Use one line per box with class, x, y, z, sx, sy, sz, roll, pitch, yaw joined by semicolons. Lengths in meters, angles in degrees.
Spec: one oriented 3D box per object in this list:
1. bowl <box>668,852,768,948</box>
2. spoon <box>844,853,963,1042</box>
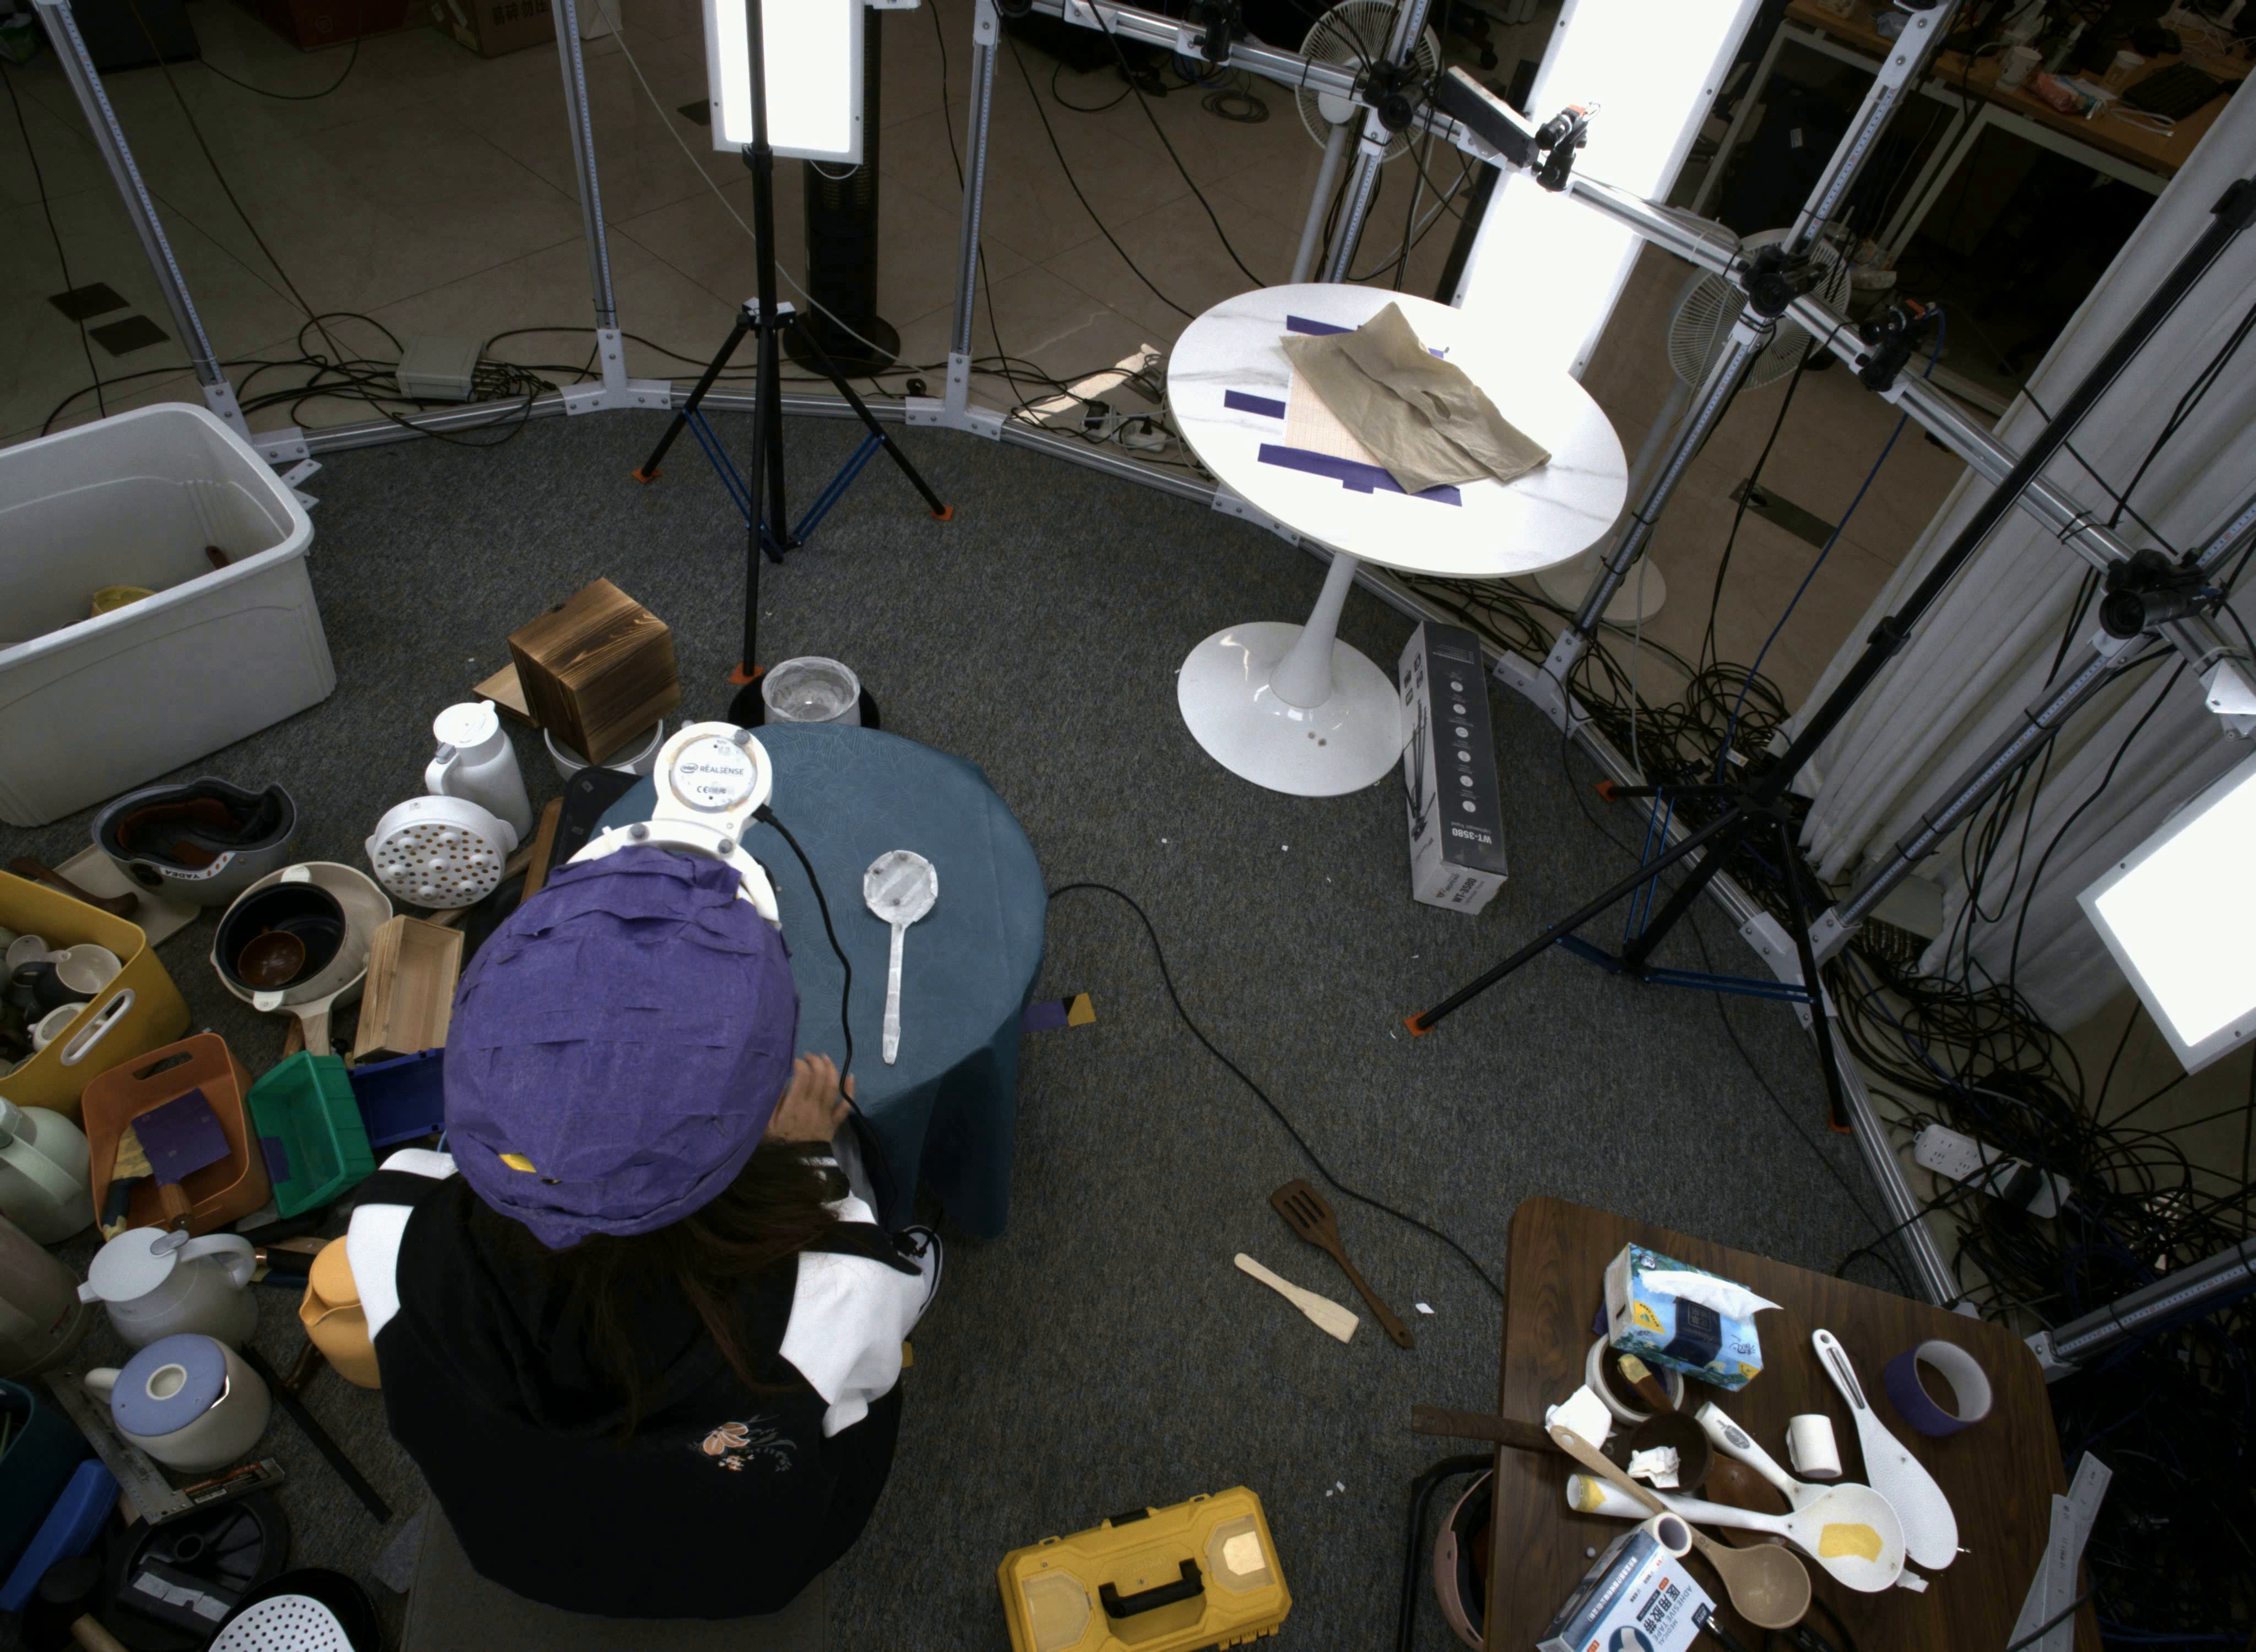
bowl;-0.500;0.096;1.580;0.118;0.071;0.116;7;52;-8
spoon;-0.278;0.161;1.708;0.100;0.288;0.057;-26;31;-5
